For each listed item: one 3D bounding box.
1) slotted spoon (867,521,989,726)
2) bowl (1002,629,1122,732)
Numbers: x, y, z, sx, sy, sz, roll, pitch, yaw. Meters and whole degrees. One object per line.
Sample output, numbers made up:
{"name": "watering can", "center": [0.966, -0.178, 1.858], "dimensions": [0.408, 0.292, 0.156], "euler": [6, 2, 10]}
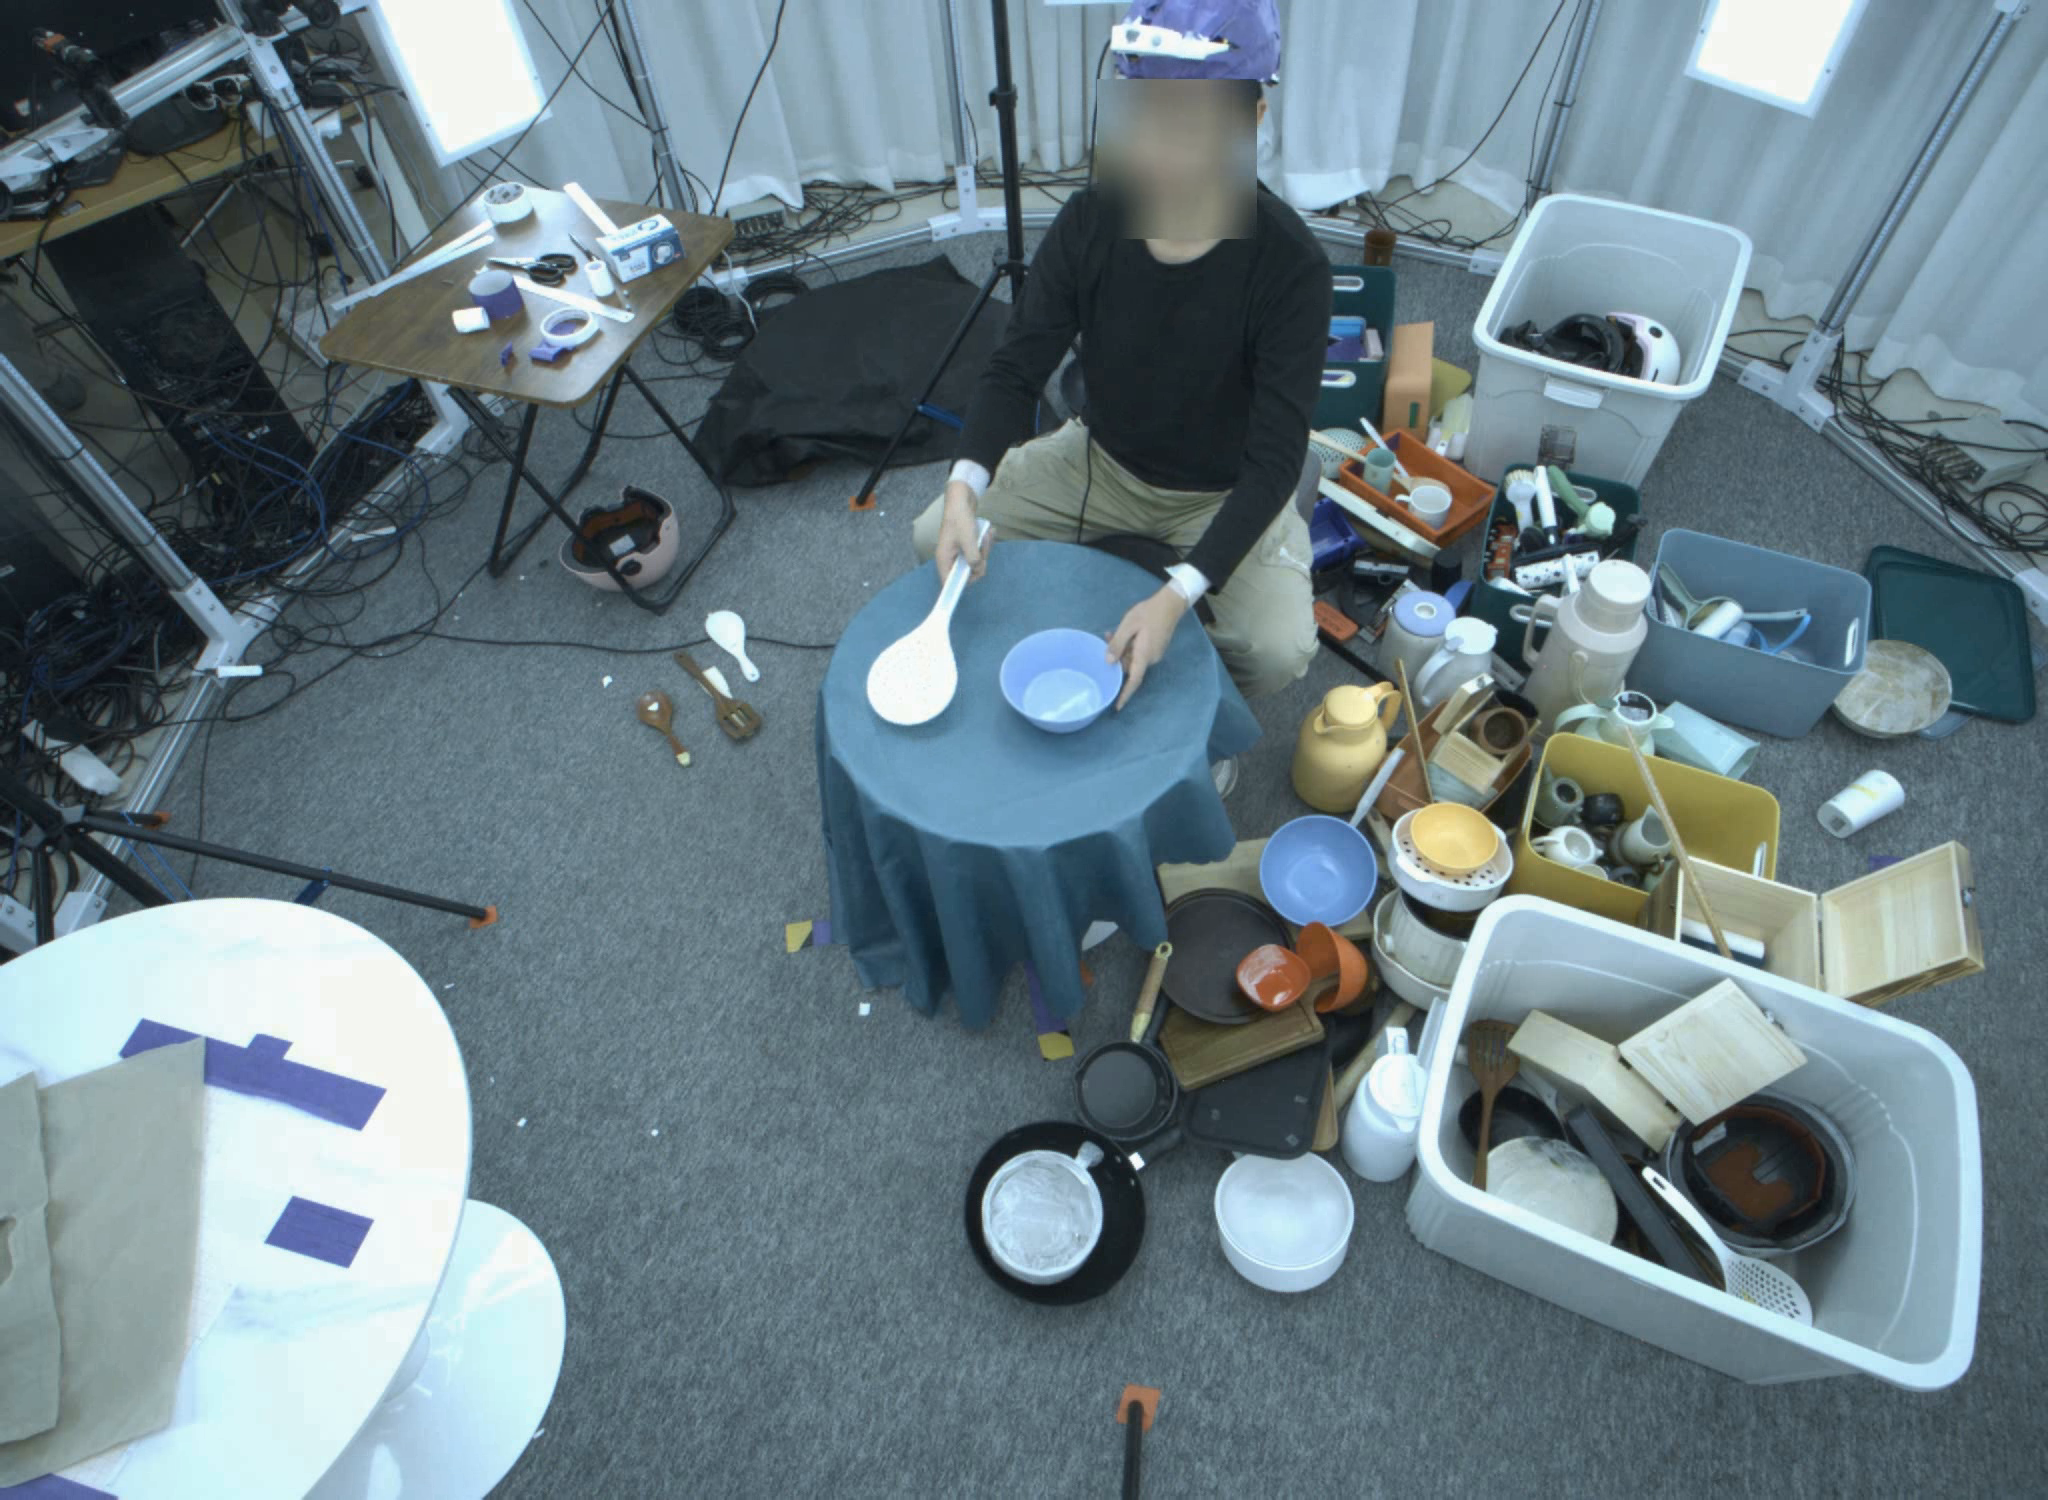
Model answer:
{"name": "slotted spoon", "center": [-0.128, -0.194, 1.842], "dimensions": [0.135, 0.046, 0.349], "euler": [17, 79, 13]}
{"name": "bowl", "center": [0.056, -0.092, 1.808], "dimensions": [0.176, 0.071, 0.174], "euler": [0, 54, 2]}
